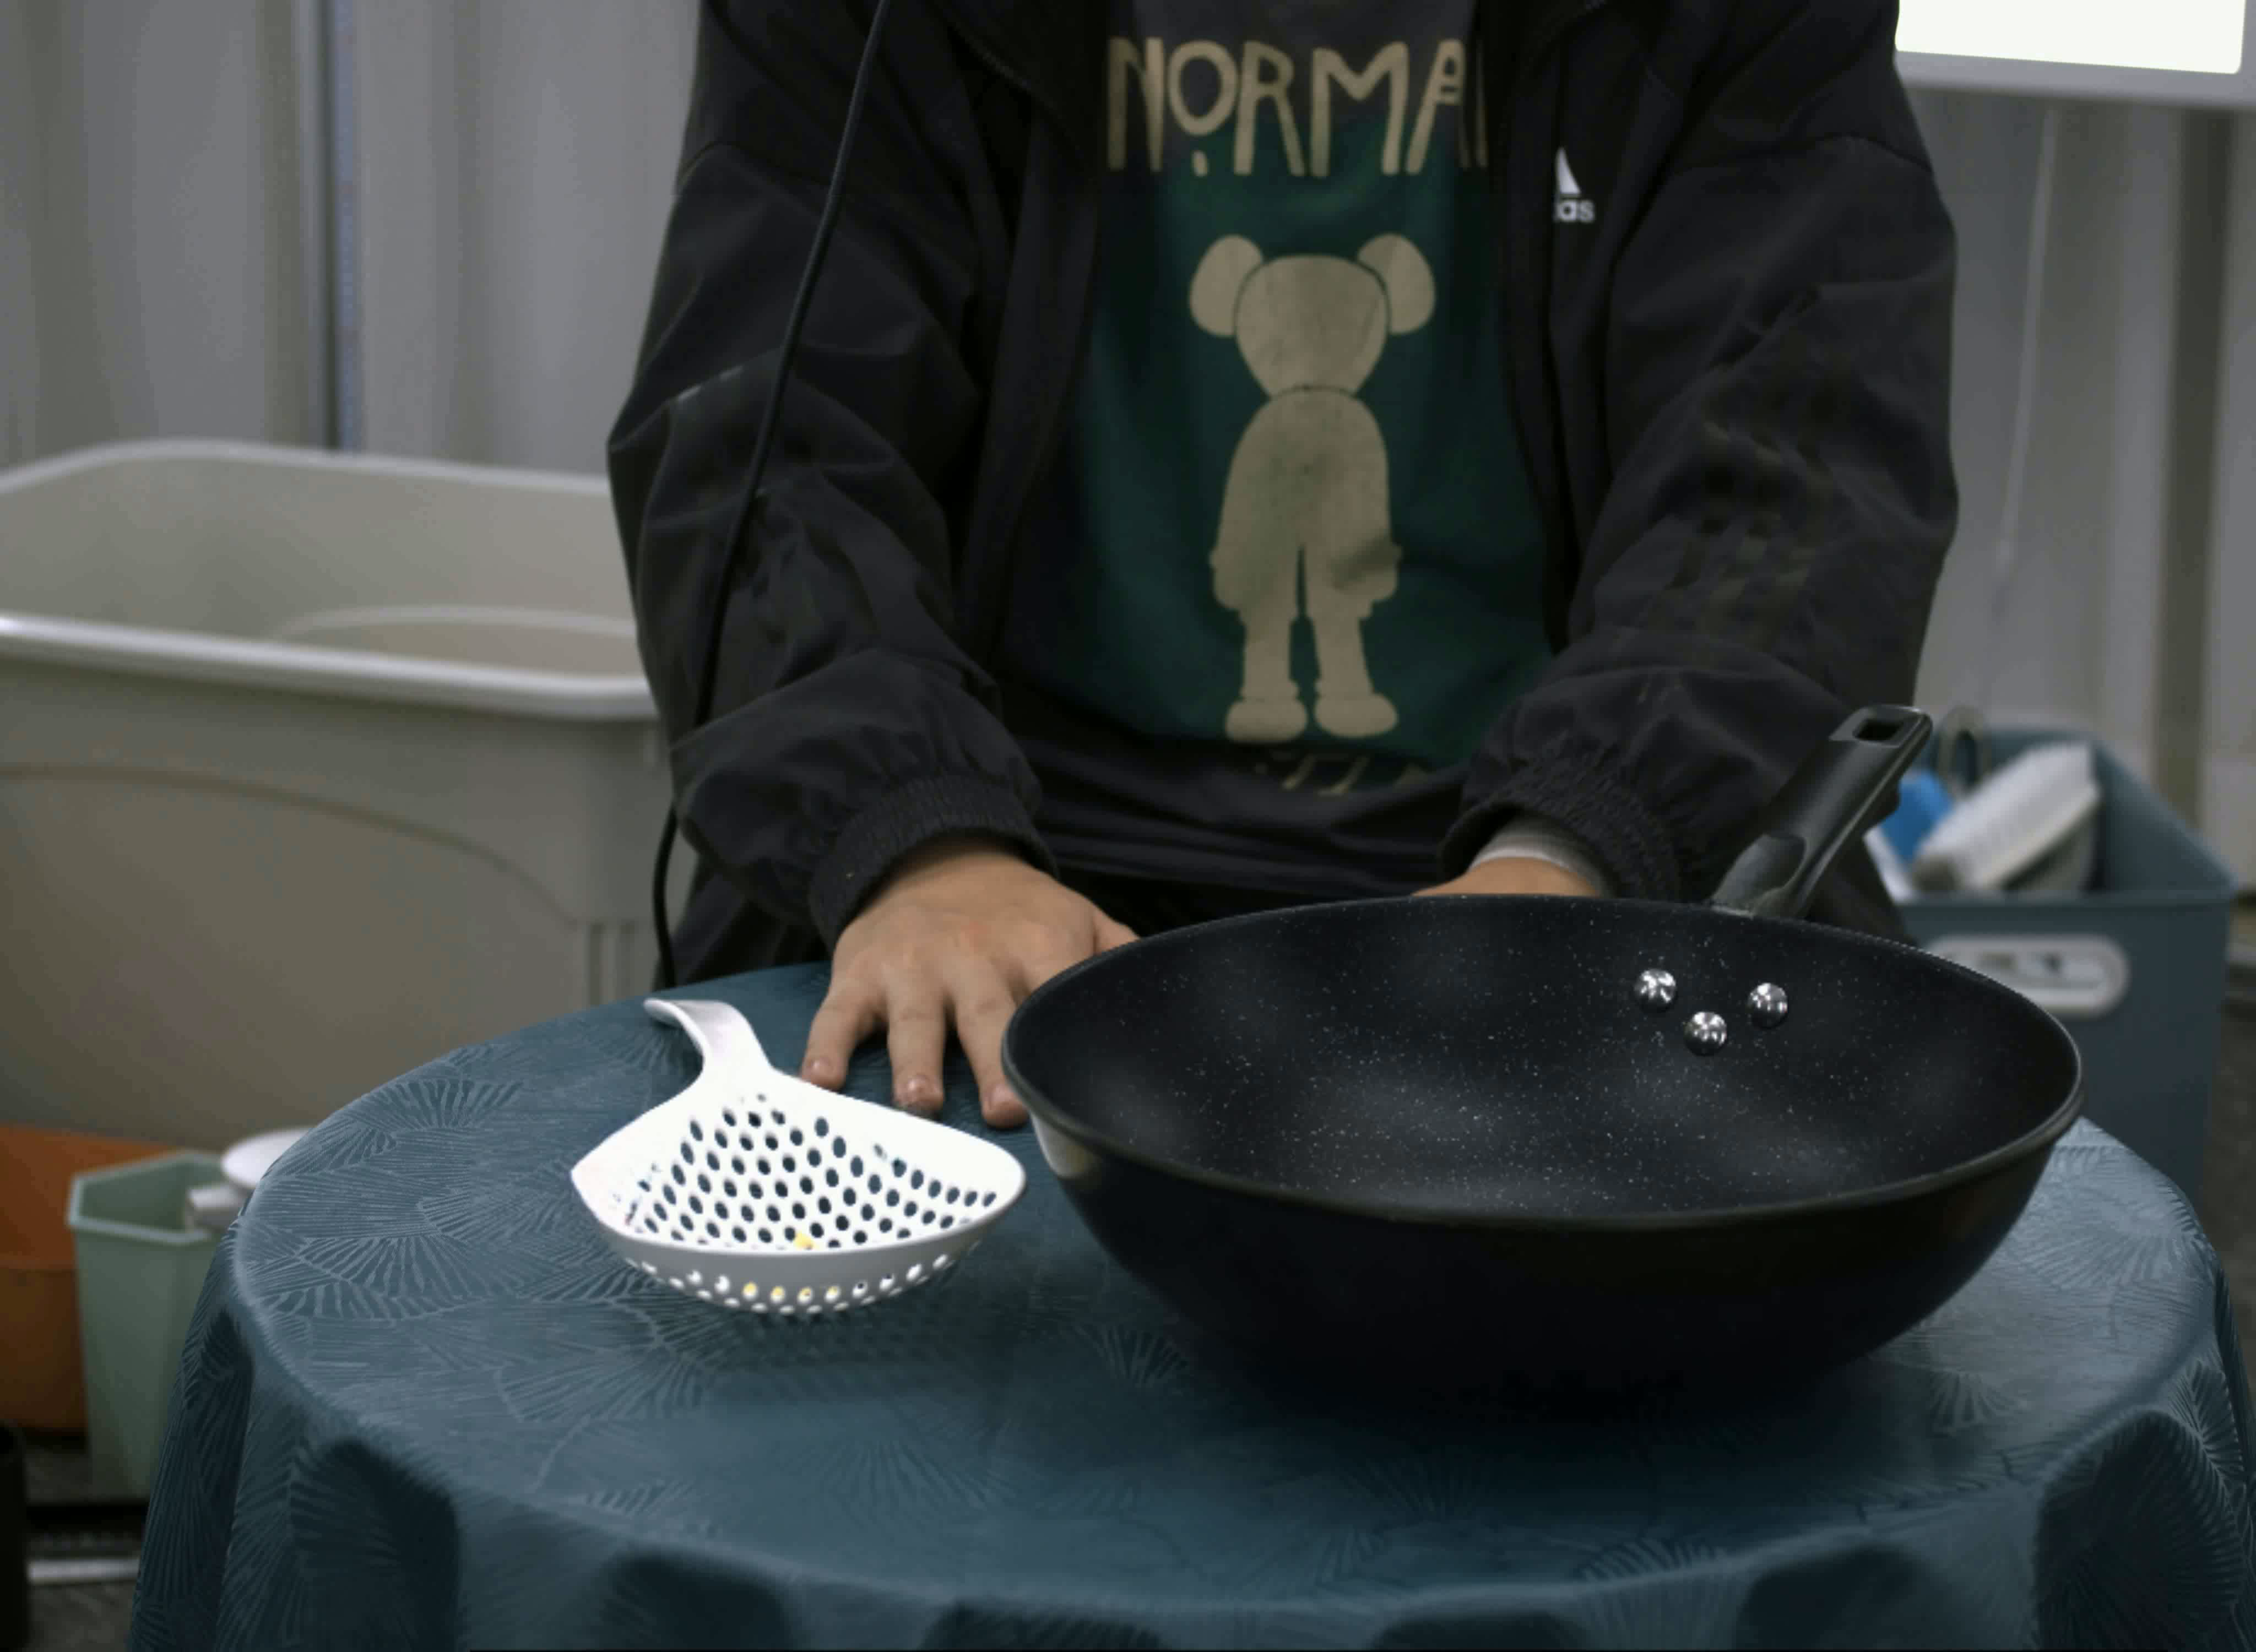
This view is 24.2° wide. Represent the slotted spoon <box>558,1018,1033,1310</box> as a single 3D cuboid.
[{"bbox_3d":[-0.118,0.090,1.625,0.137,0.051,0.345,-5,16,-11],"label":"slotted spoon"}]

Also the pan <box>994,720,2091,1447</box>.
[{"bbox_3d":[0.152,0.074,1.571,0.307,0.112,0.478,9,18,24],"label":"pan"}]
